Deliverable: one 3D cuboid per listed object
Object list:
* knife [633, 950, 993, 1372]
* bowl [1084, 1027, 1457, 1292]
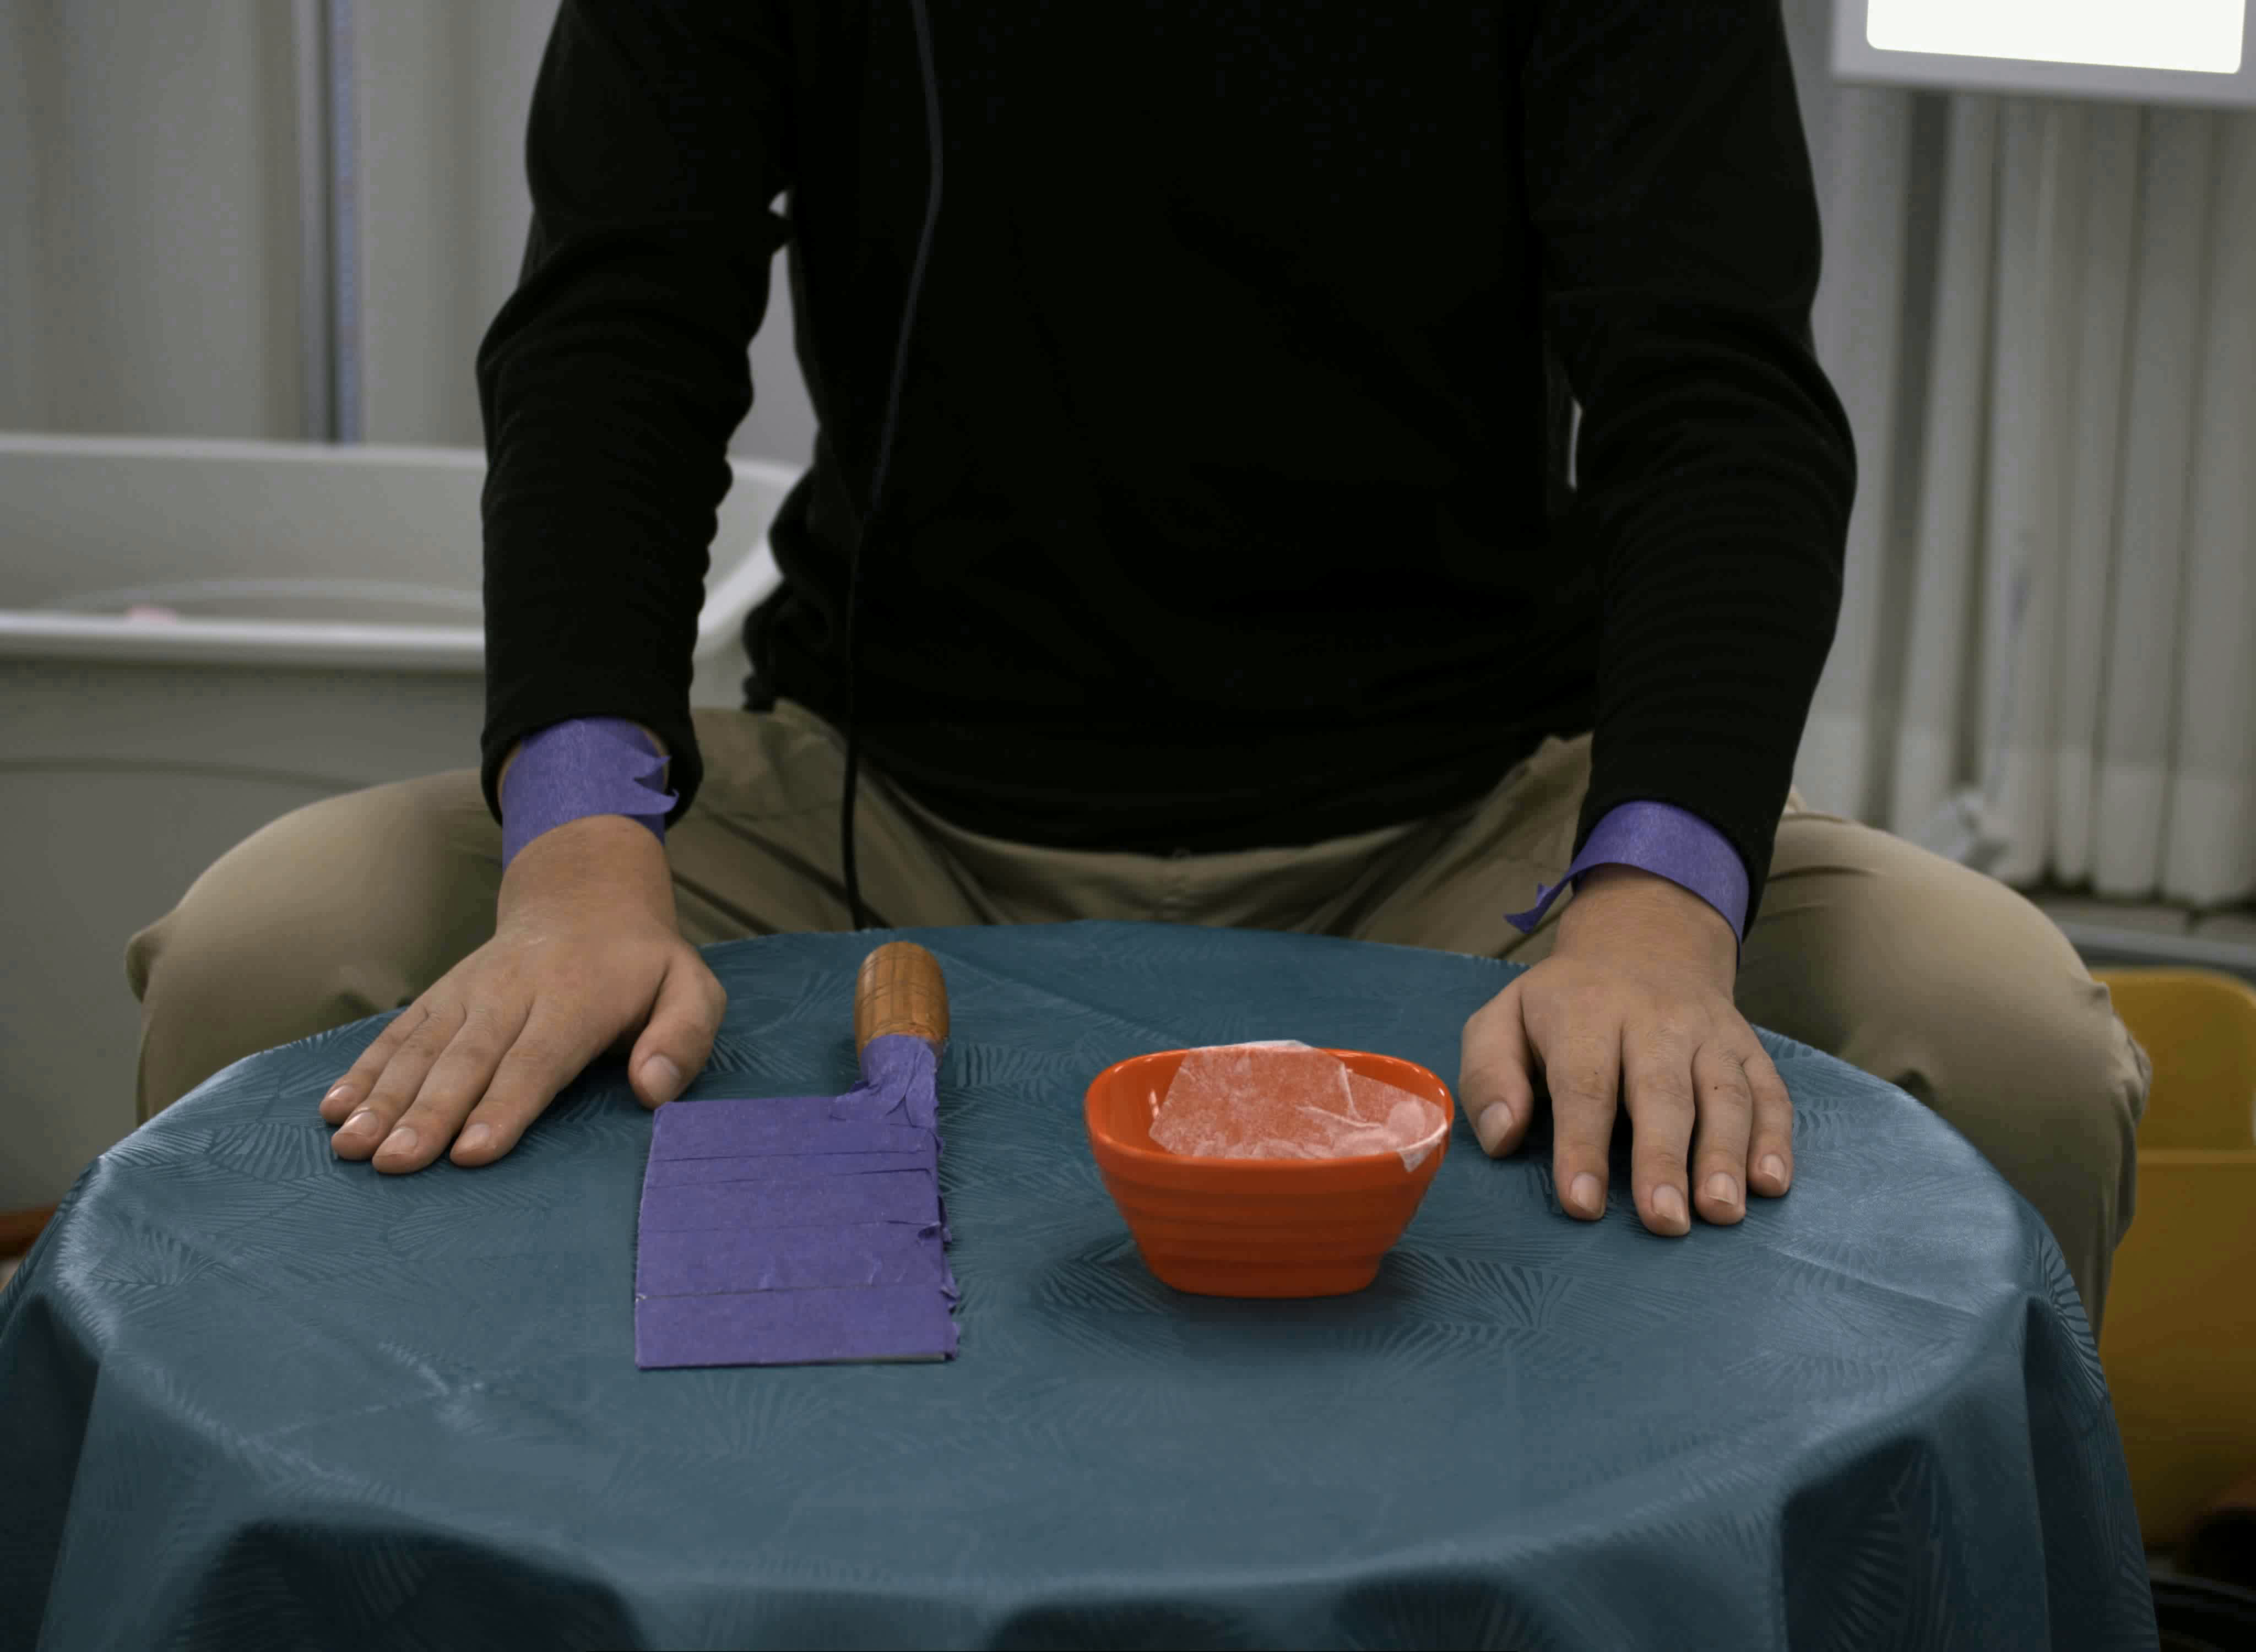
[{"bbox_3d":[-0.099,0.099,1.619,0.103,0.032,0.313,0,16,-4],"label":"knife"},{"bbox_3d":[0.042,0.101,1.556,0.118,0.052,0.118,-1,19,1],"label":"bowl"}]
